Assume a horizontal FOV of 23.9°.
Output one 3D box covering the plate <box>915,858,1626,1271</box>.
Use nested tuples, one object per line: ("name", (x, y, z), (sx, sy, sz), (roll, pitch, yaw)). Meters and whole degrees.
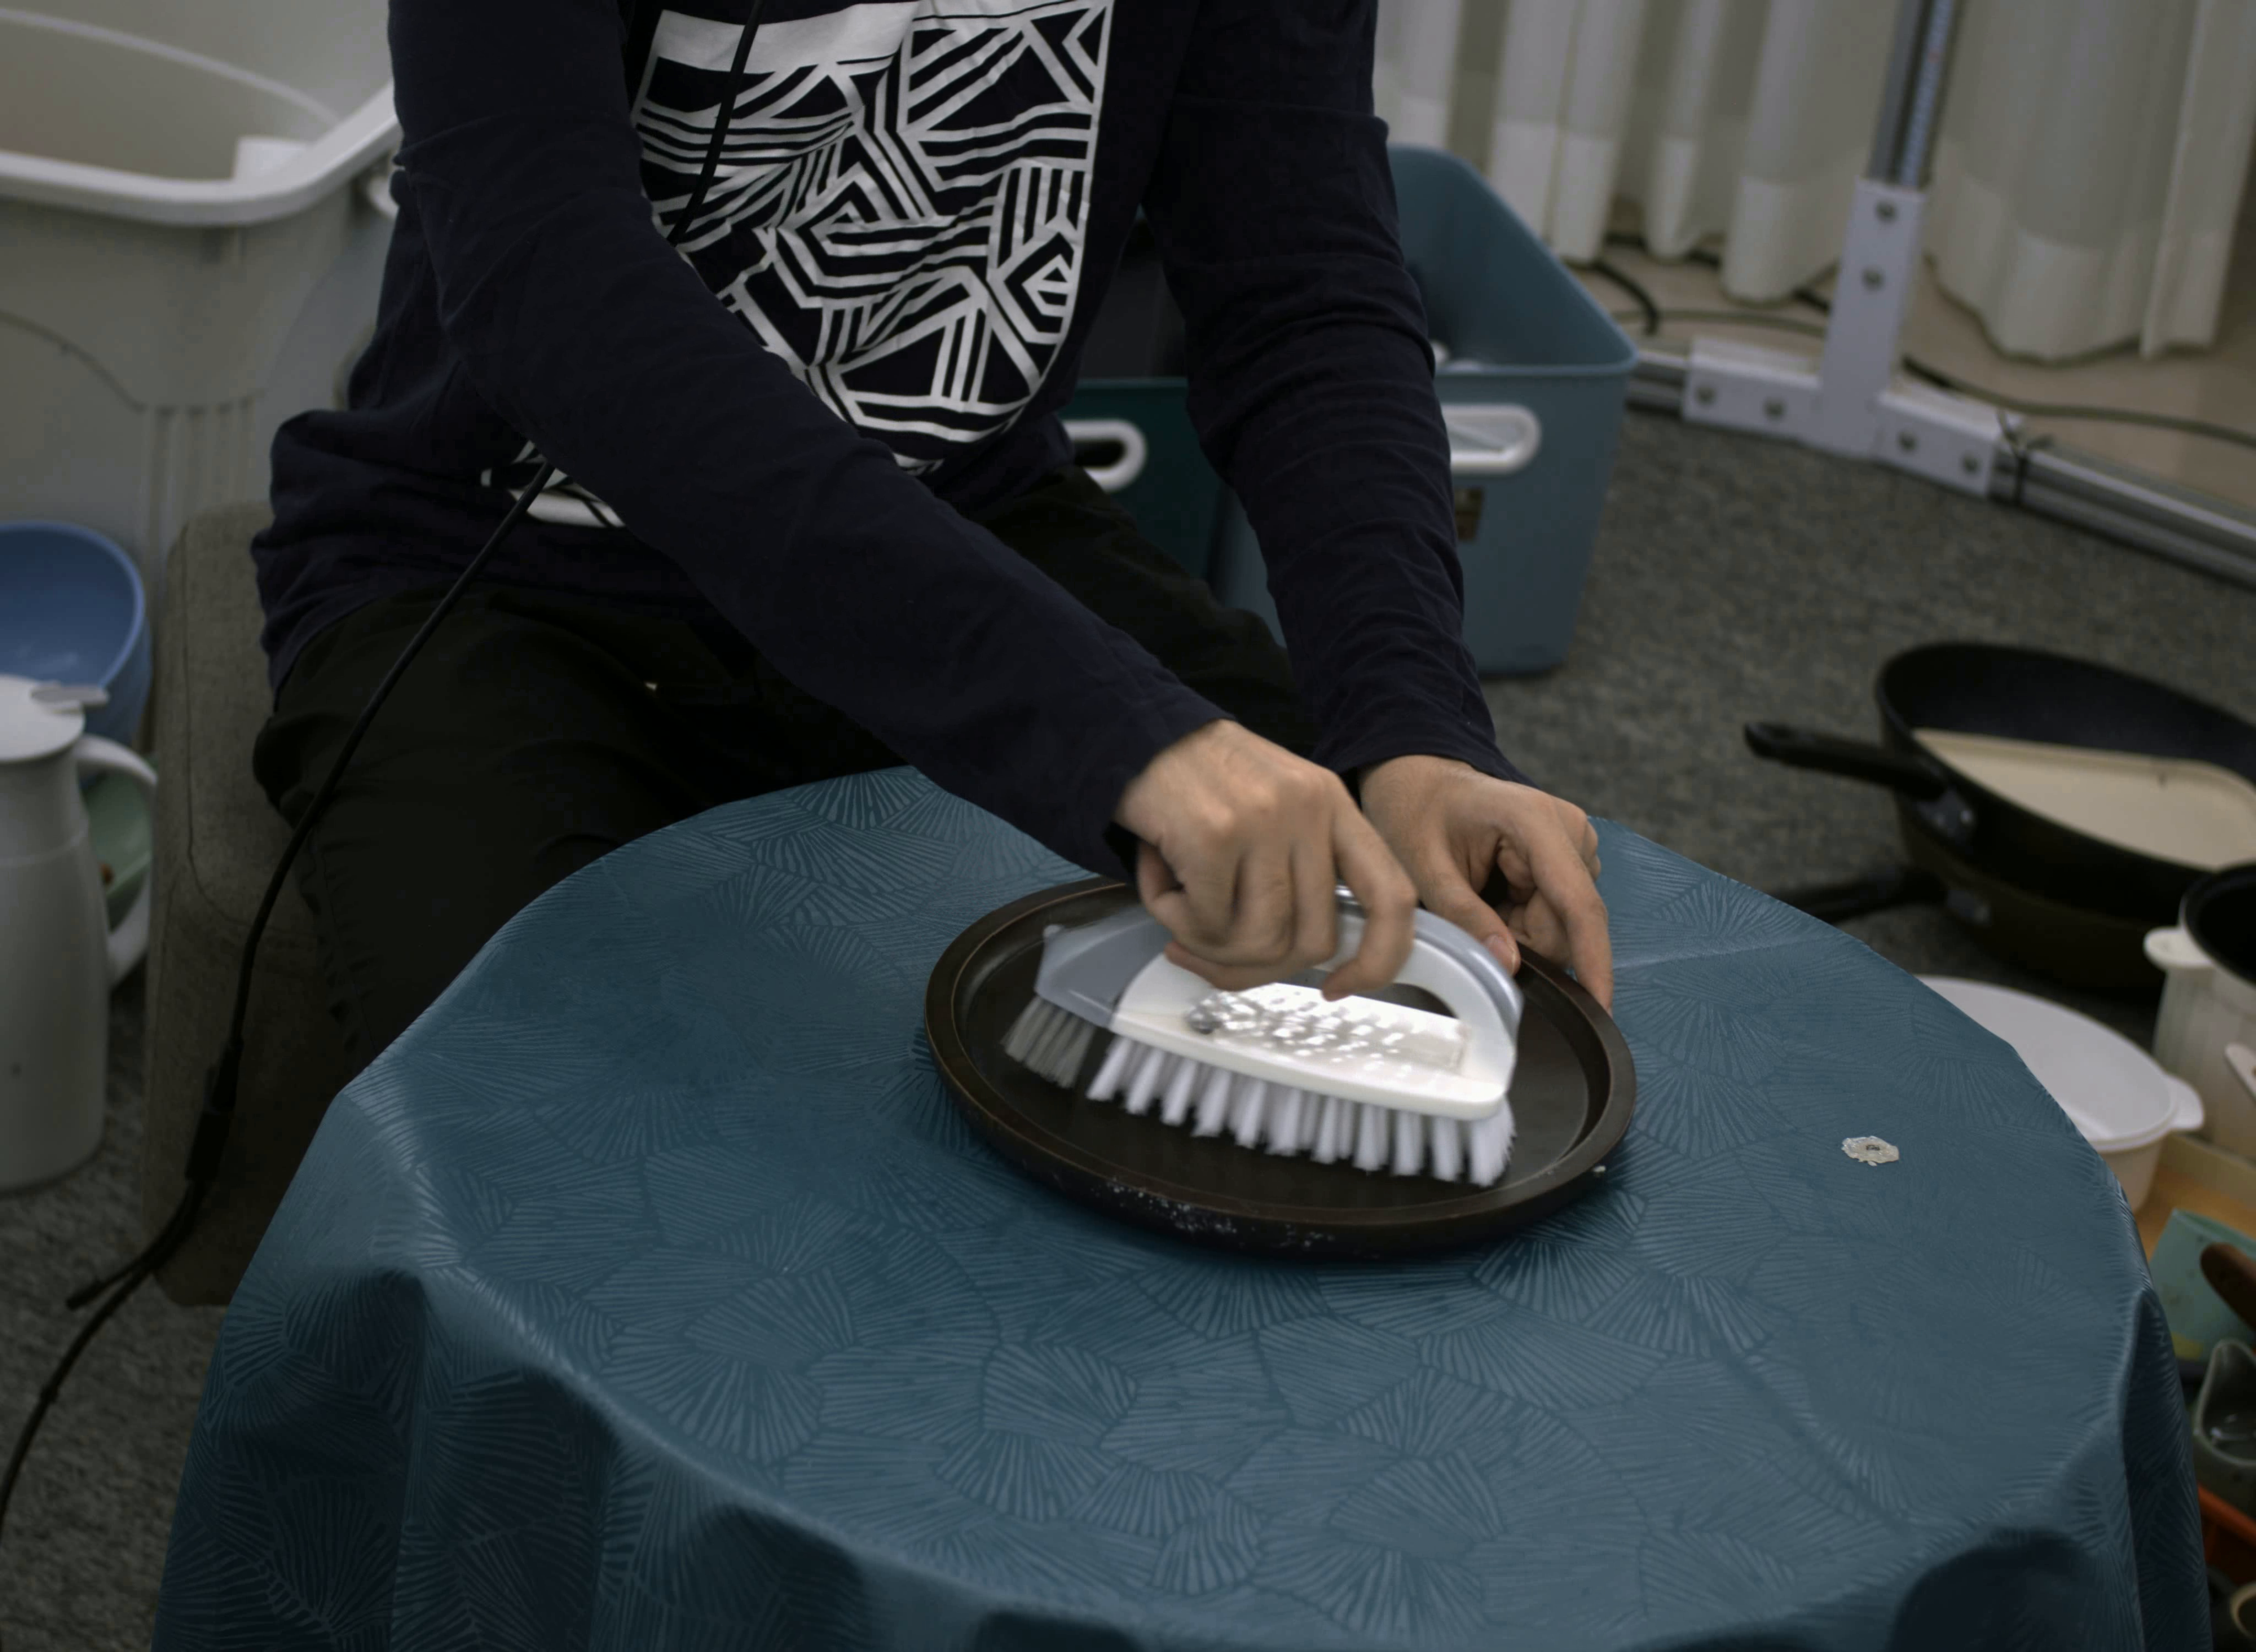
("plate", (0.050, 0.085, 1.875), (0.254, 0.029, 0.256), (5, 28, -3))

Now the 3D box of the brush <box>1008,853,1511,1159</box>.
("brush", (0.046, 0.052, 1.809), (0.175, 0.094, 0.061), (12, 28, 12))
